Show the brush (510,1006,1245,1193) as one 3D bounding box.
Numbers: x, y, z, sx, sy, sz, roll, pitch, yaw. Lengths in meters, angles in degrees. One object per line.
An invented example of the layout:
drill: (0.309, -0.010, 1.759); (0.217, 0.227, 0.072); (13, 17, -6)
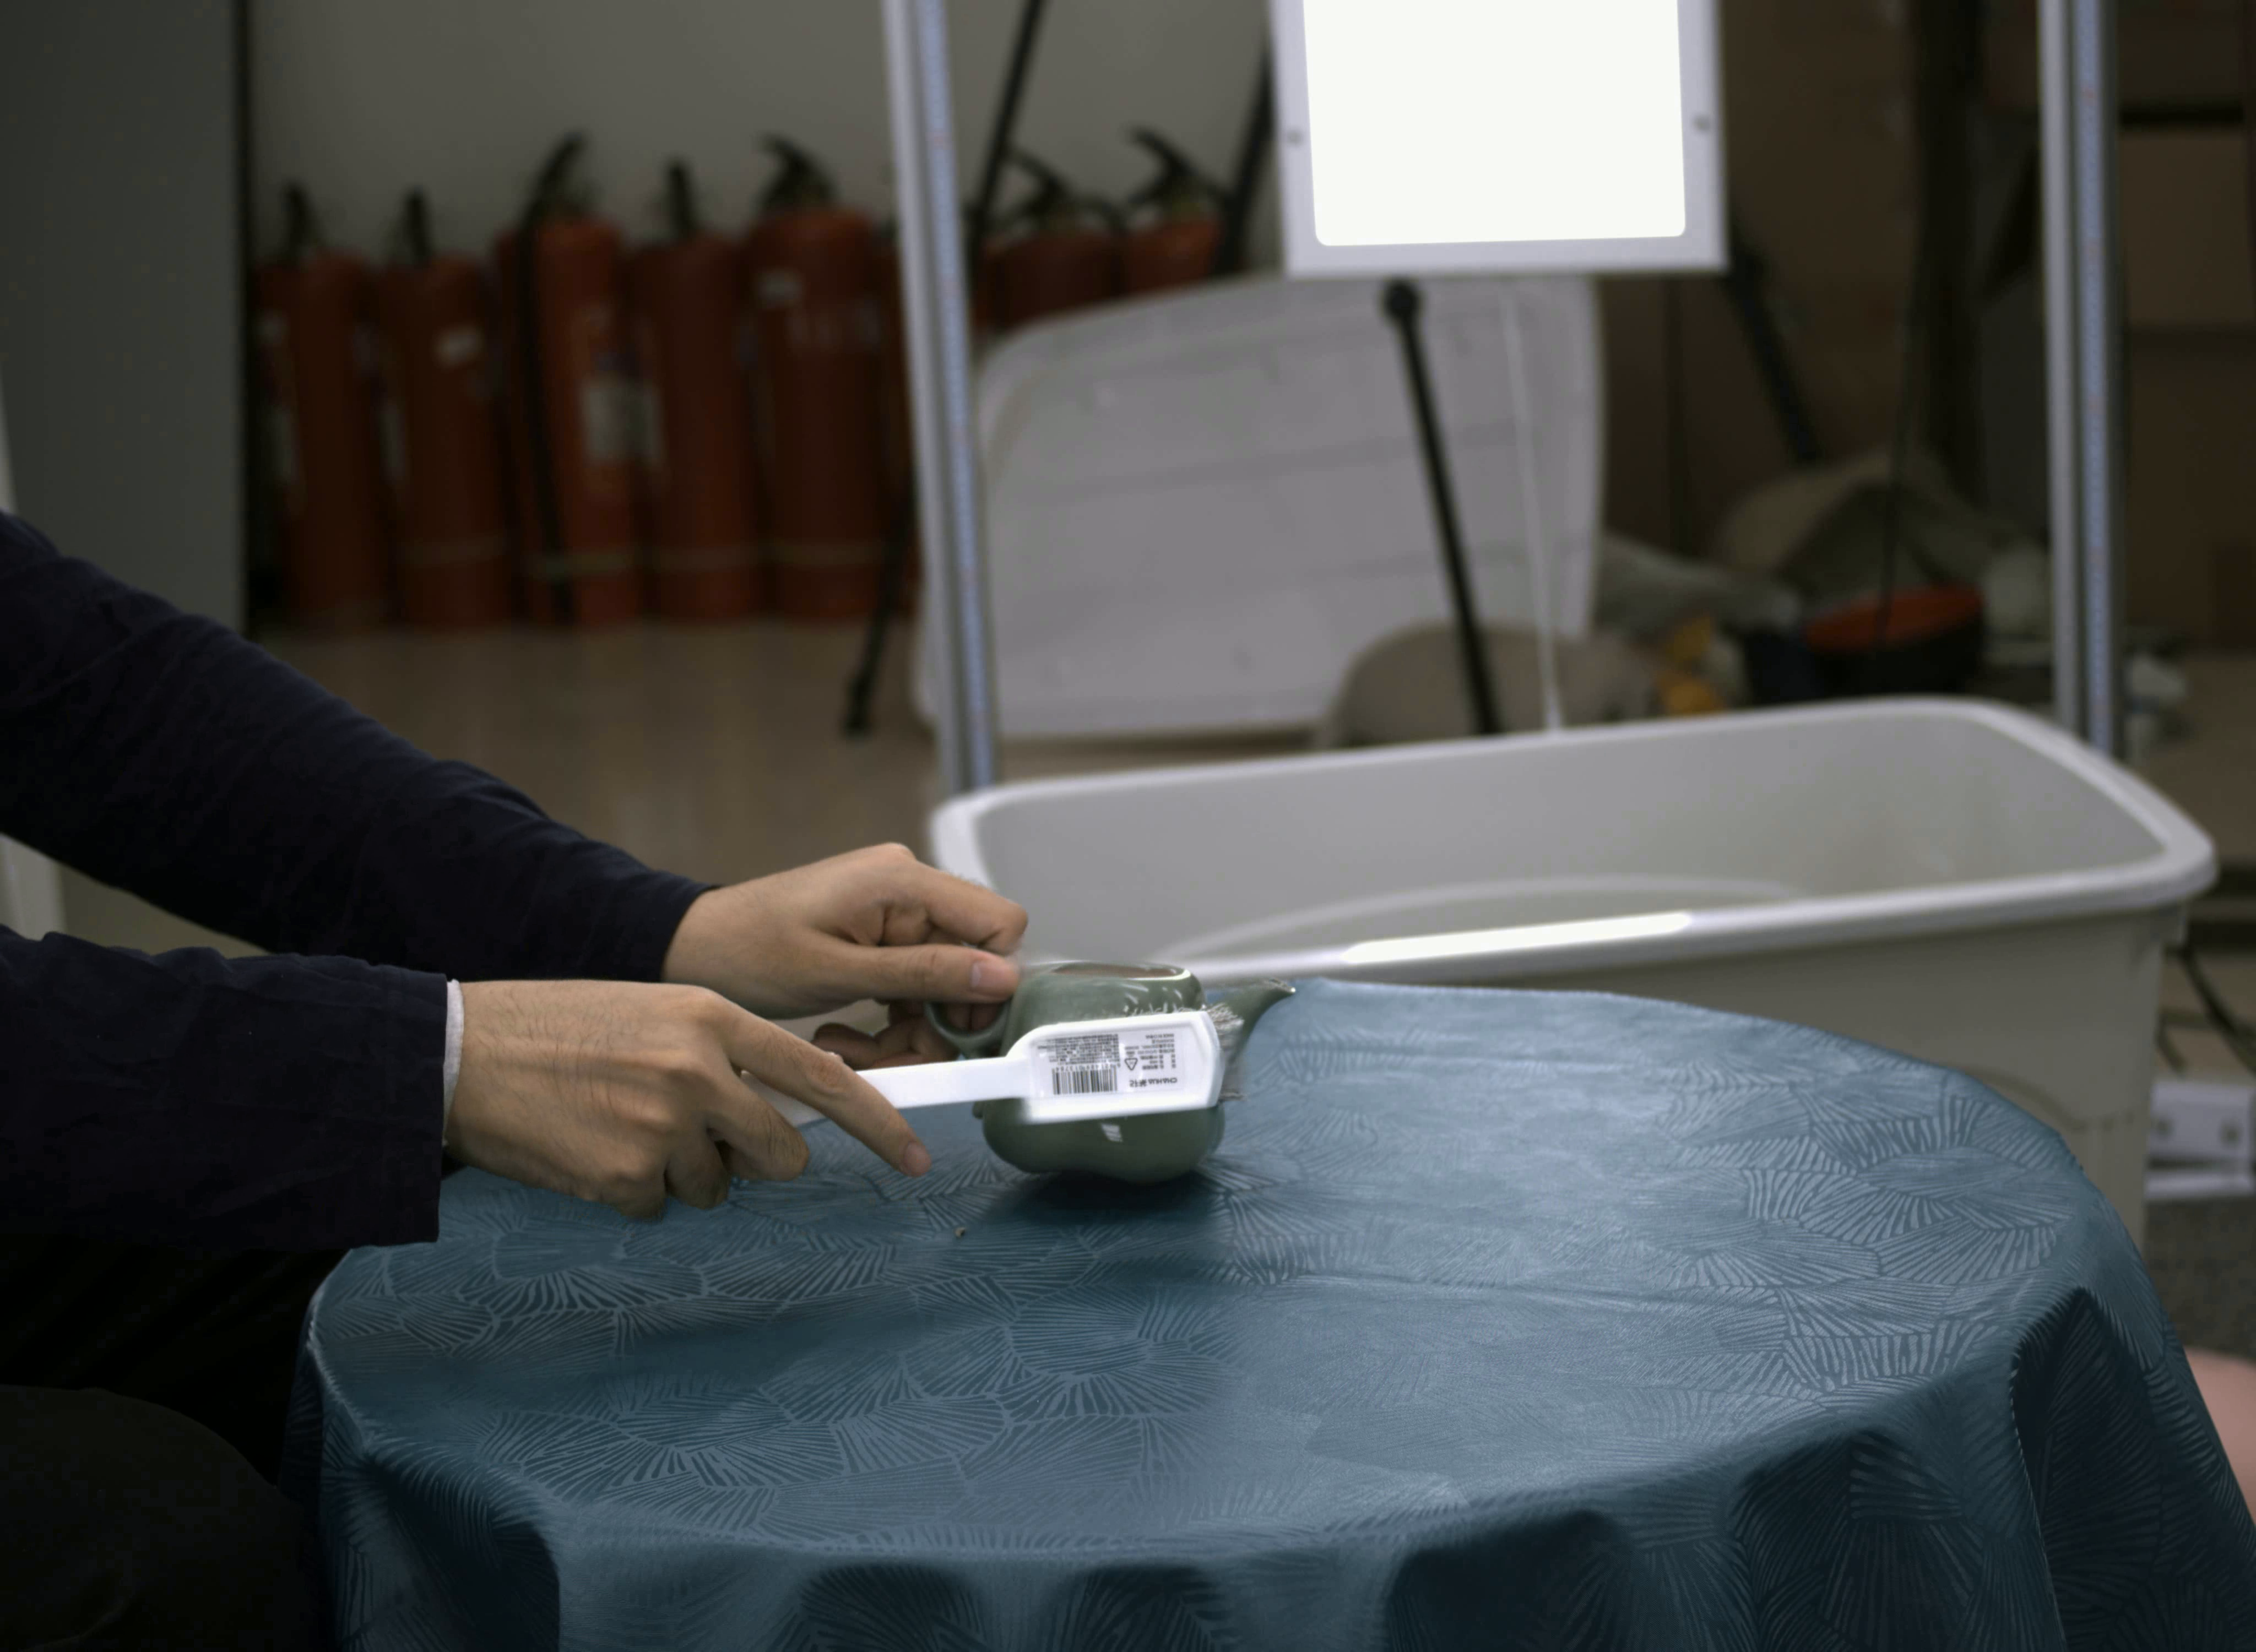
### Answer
brush: (-0.082, 0.092, 1.819); (0.243, 0.034, 0.050); (-9, 0, 2)

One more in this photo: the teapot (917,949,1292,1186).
teapot: (-0.009, 0.083, 1.906); (0.133, 0.075, 0.079); (3, 5, 13)
